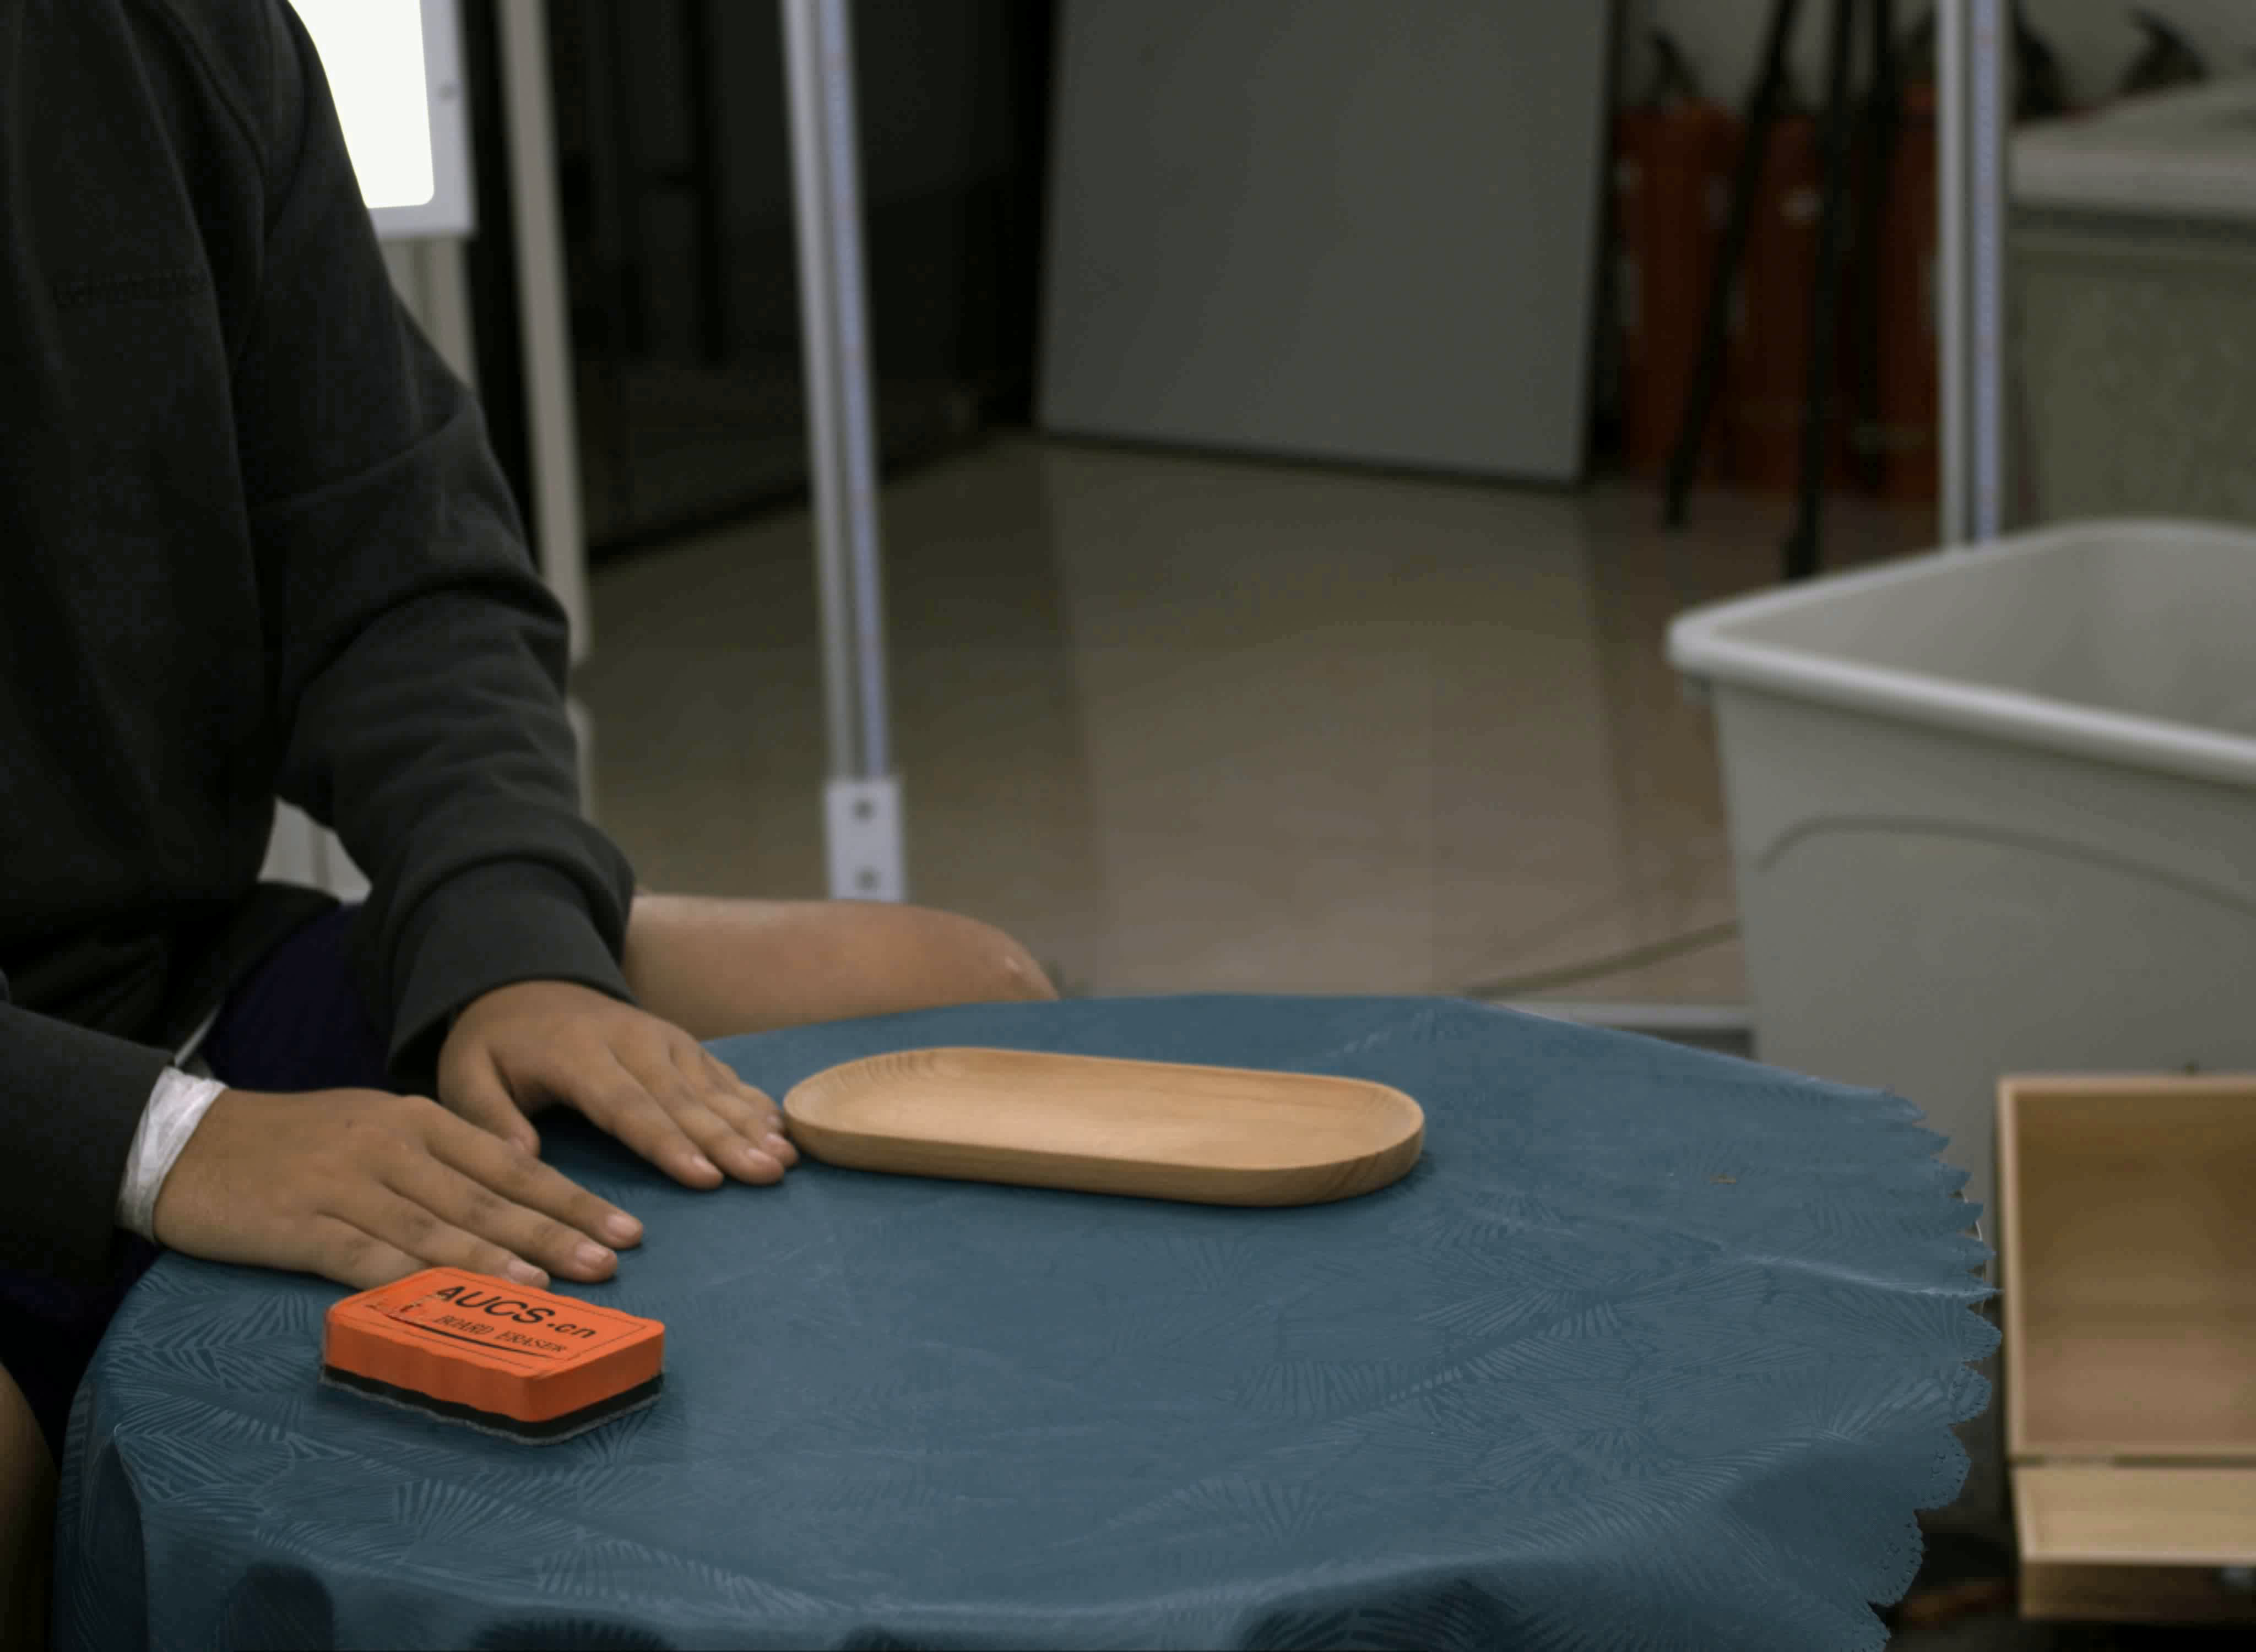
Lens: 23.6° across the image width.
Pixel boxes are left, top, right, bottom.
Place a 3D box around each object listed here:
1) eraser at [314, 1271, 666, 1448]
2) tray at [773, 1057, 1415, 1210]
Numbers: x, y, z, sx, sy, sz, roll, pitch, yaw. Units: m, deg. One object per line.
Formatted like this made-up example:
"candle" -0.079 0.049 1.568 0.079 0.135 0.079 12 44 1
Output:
"eraser" -0.191 0.159 1.620 0.109 0.023 0.058 8 19 43
"tray" -0.012 0.103 1.814 0.231 0.020 0.100 2 14 27
